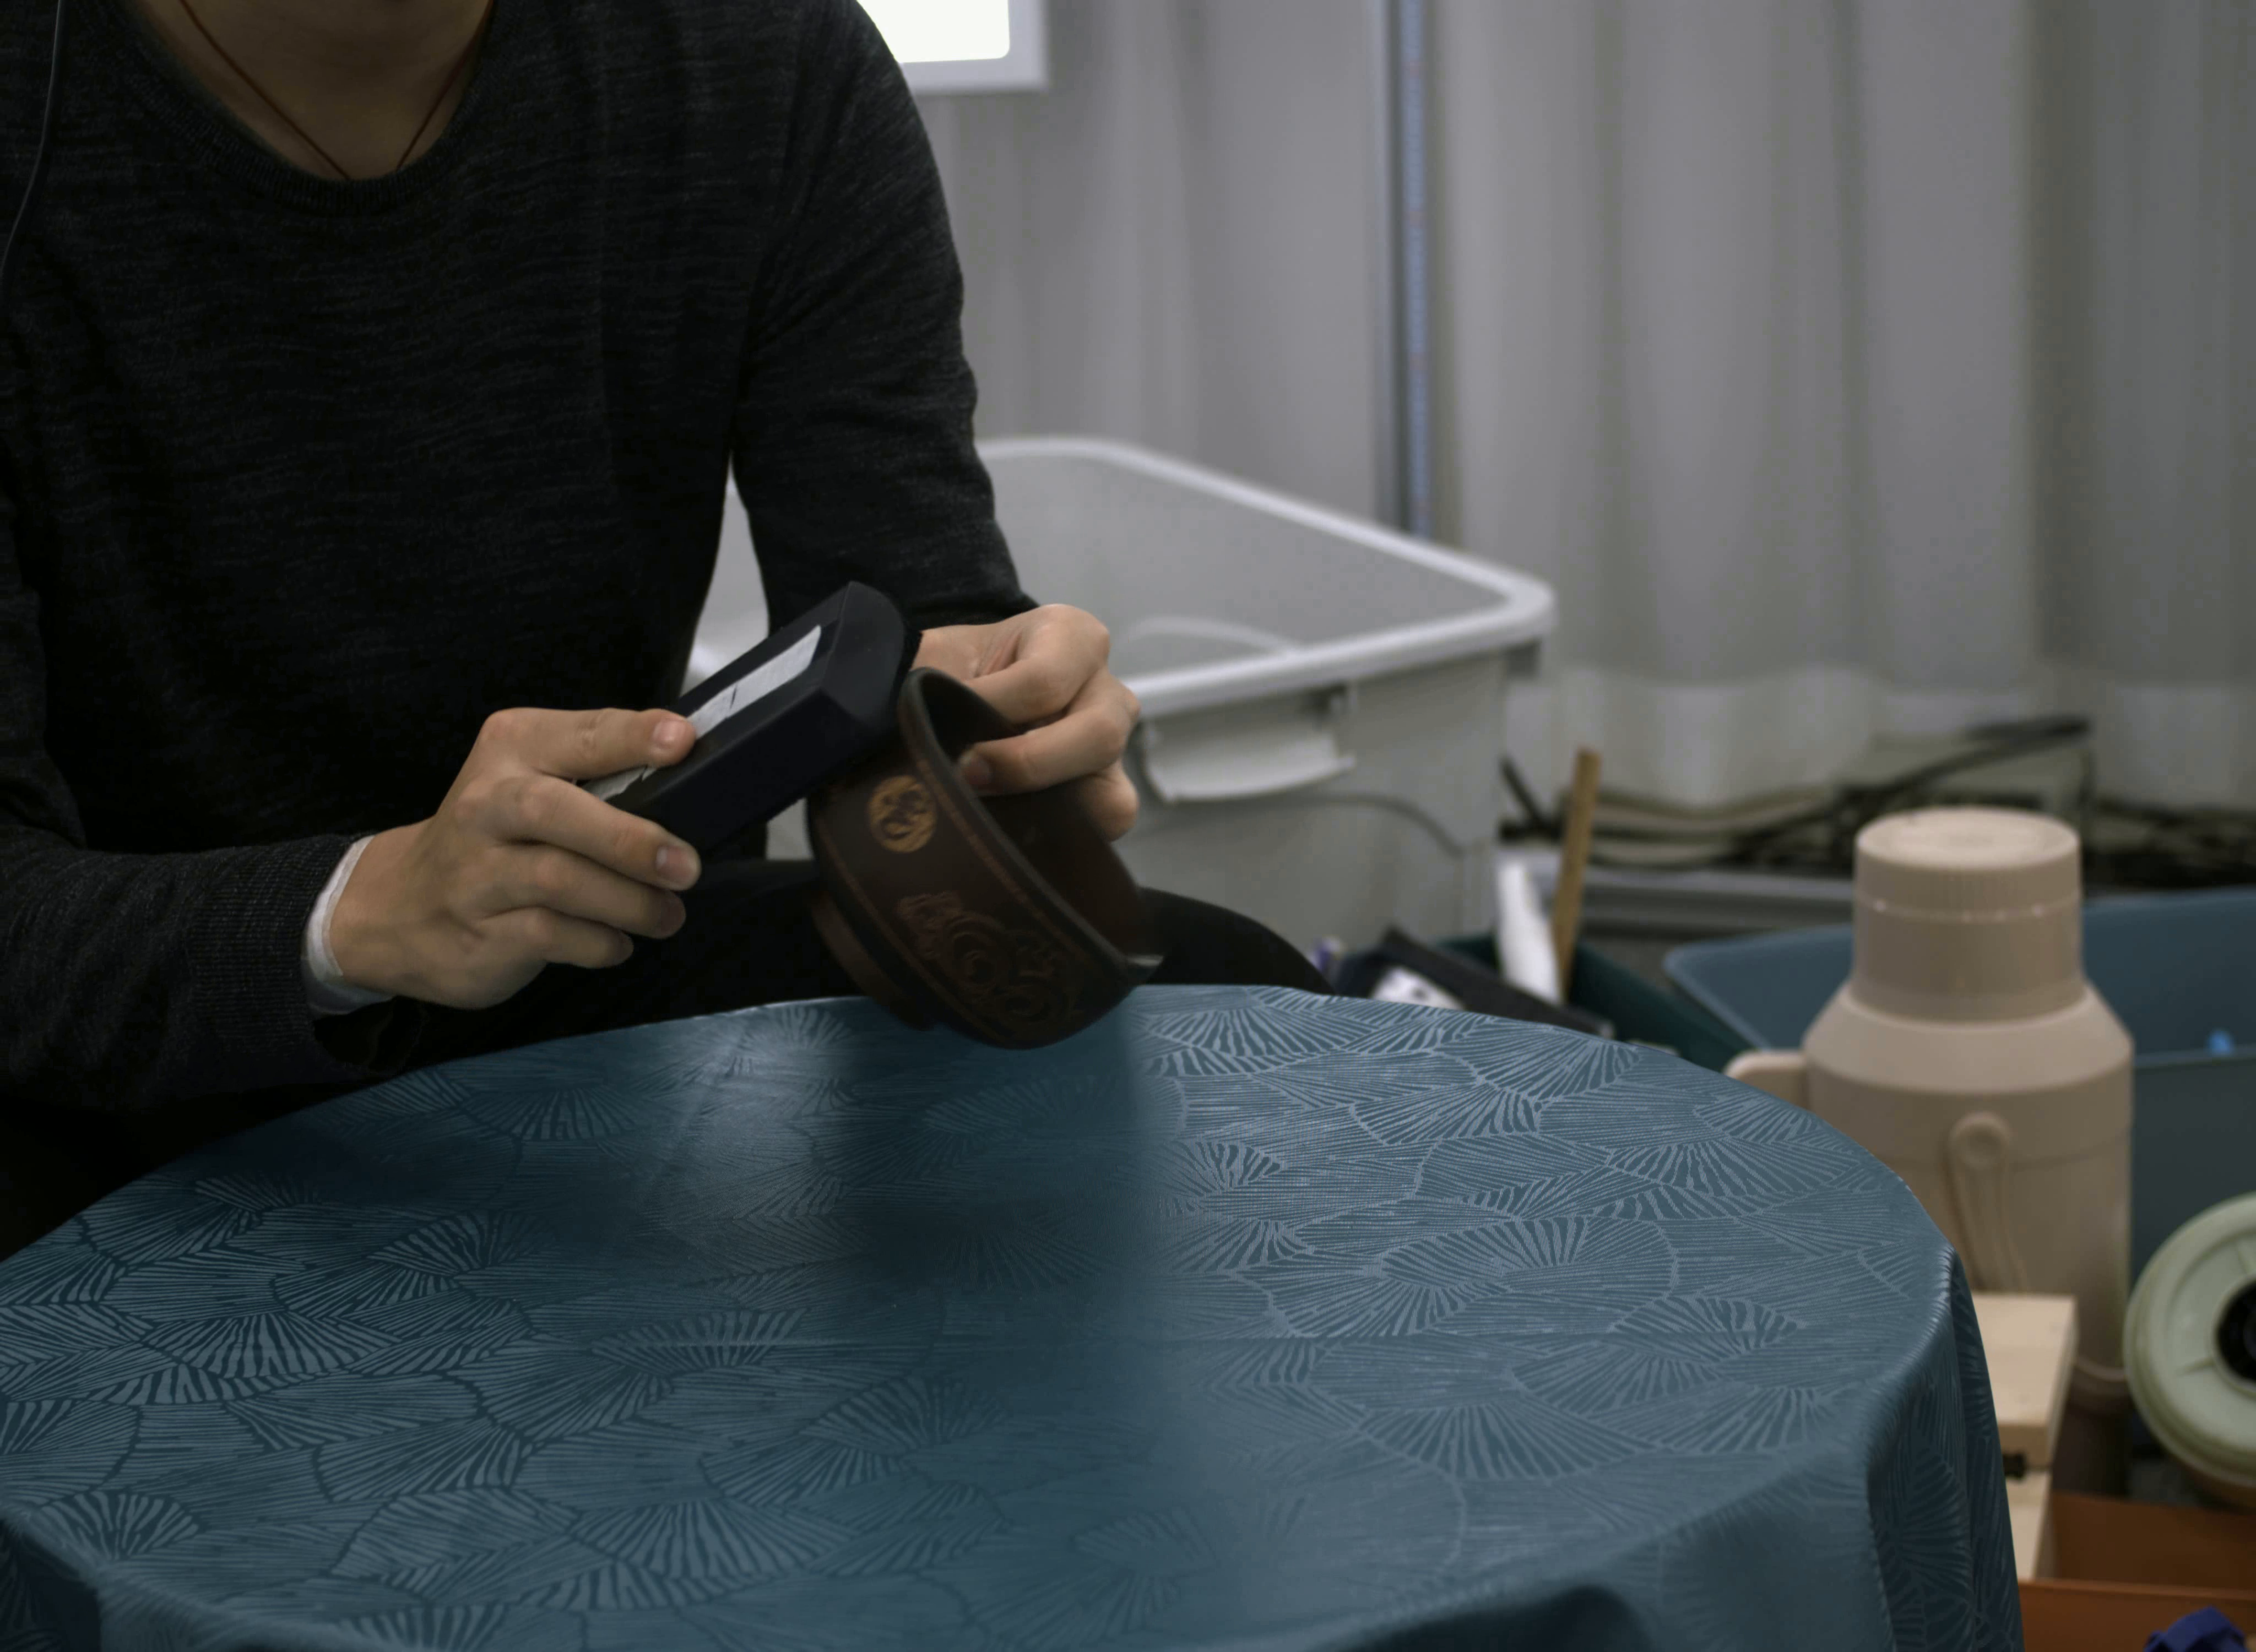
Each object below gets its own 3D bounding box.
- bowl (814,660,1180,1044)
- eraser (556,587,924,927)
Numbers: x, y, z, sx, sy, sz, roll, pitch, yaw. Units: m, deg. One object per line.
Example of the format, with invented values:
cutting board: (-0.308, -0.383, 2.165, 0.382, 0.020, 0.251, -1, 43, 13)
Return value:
bowl: (-0.047, 0.016, 1.619, 0.069, 0.117, 0.119, -42, 9, 12)
eraser: (-0.115, -0.021, 1.615, 0.125, 0.030, 0.054, -33, 26, 32)
